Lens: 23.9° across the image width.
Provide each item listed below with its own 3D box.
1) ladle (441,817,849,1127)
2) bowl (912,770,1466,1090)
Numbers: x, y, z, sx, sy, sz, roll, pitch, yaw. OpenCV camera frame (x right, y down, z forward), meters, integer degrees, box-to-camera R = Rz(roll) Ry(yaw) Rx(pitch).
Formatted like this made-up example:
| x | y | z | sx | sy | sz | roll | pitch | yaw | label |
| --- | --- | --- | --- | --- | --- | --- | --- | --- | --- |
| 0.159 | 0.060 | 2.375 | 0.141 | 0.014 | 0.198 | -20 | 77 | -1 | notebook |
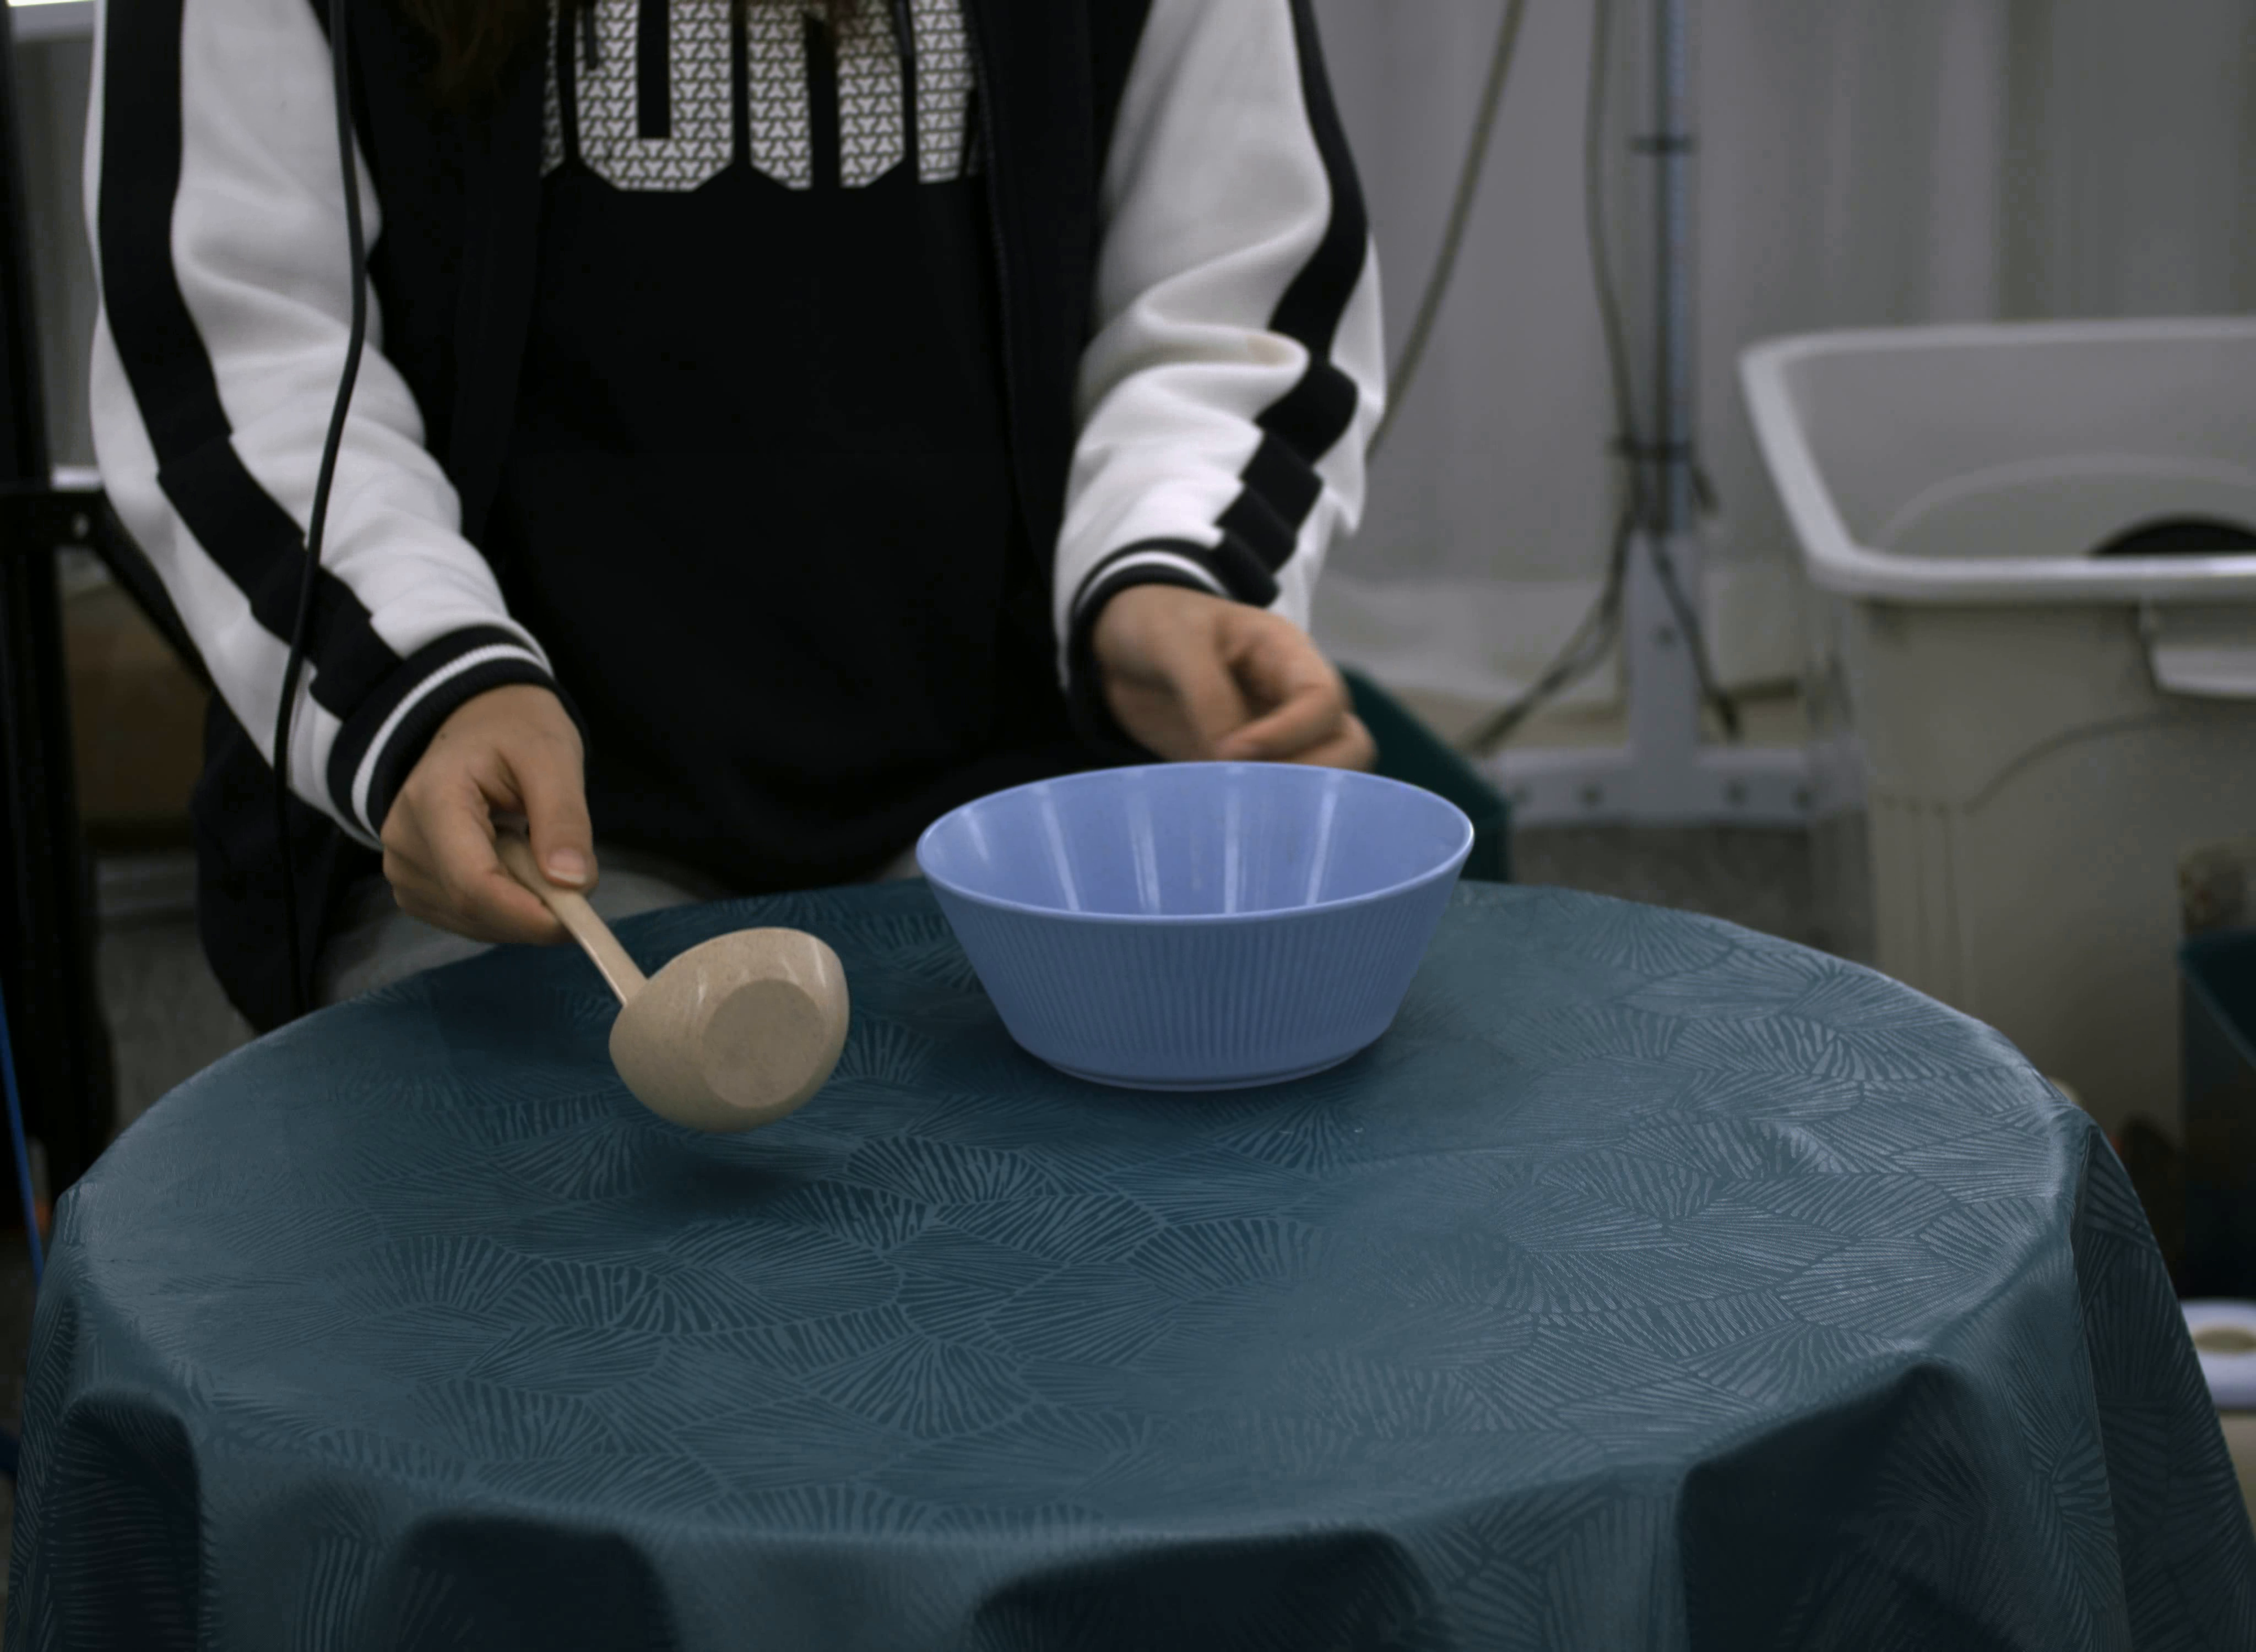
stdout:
| x | y | z | sx | sy | sz | roll | pitch | yaw | label |
| --- | --- | --- | --- | --- | --- | --- | --- | --- | --- |
| -0.161 | 0.016 | 1.647 | 0.070 | 0.073 | 0.260 | -8 | 26 | -26 | ladle |
| 0.020 | 0.035 | 1.685 | 0.175 | 0.070 | 0.177 | -2 | 16 | -1 | bowl |
